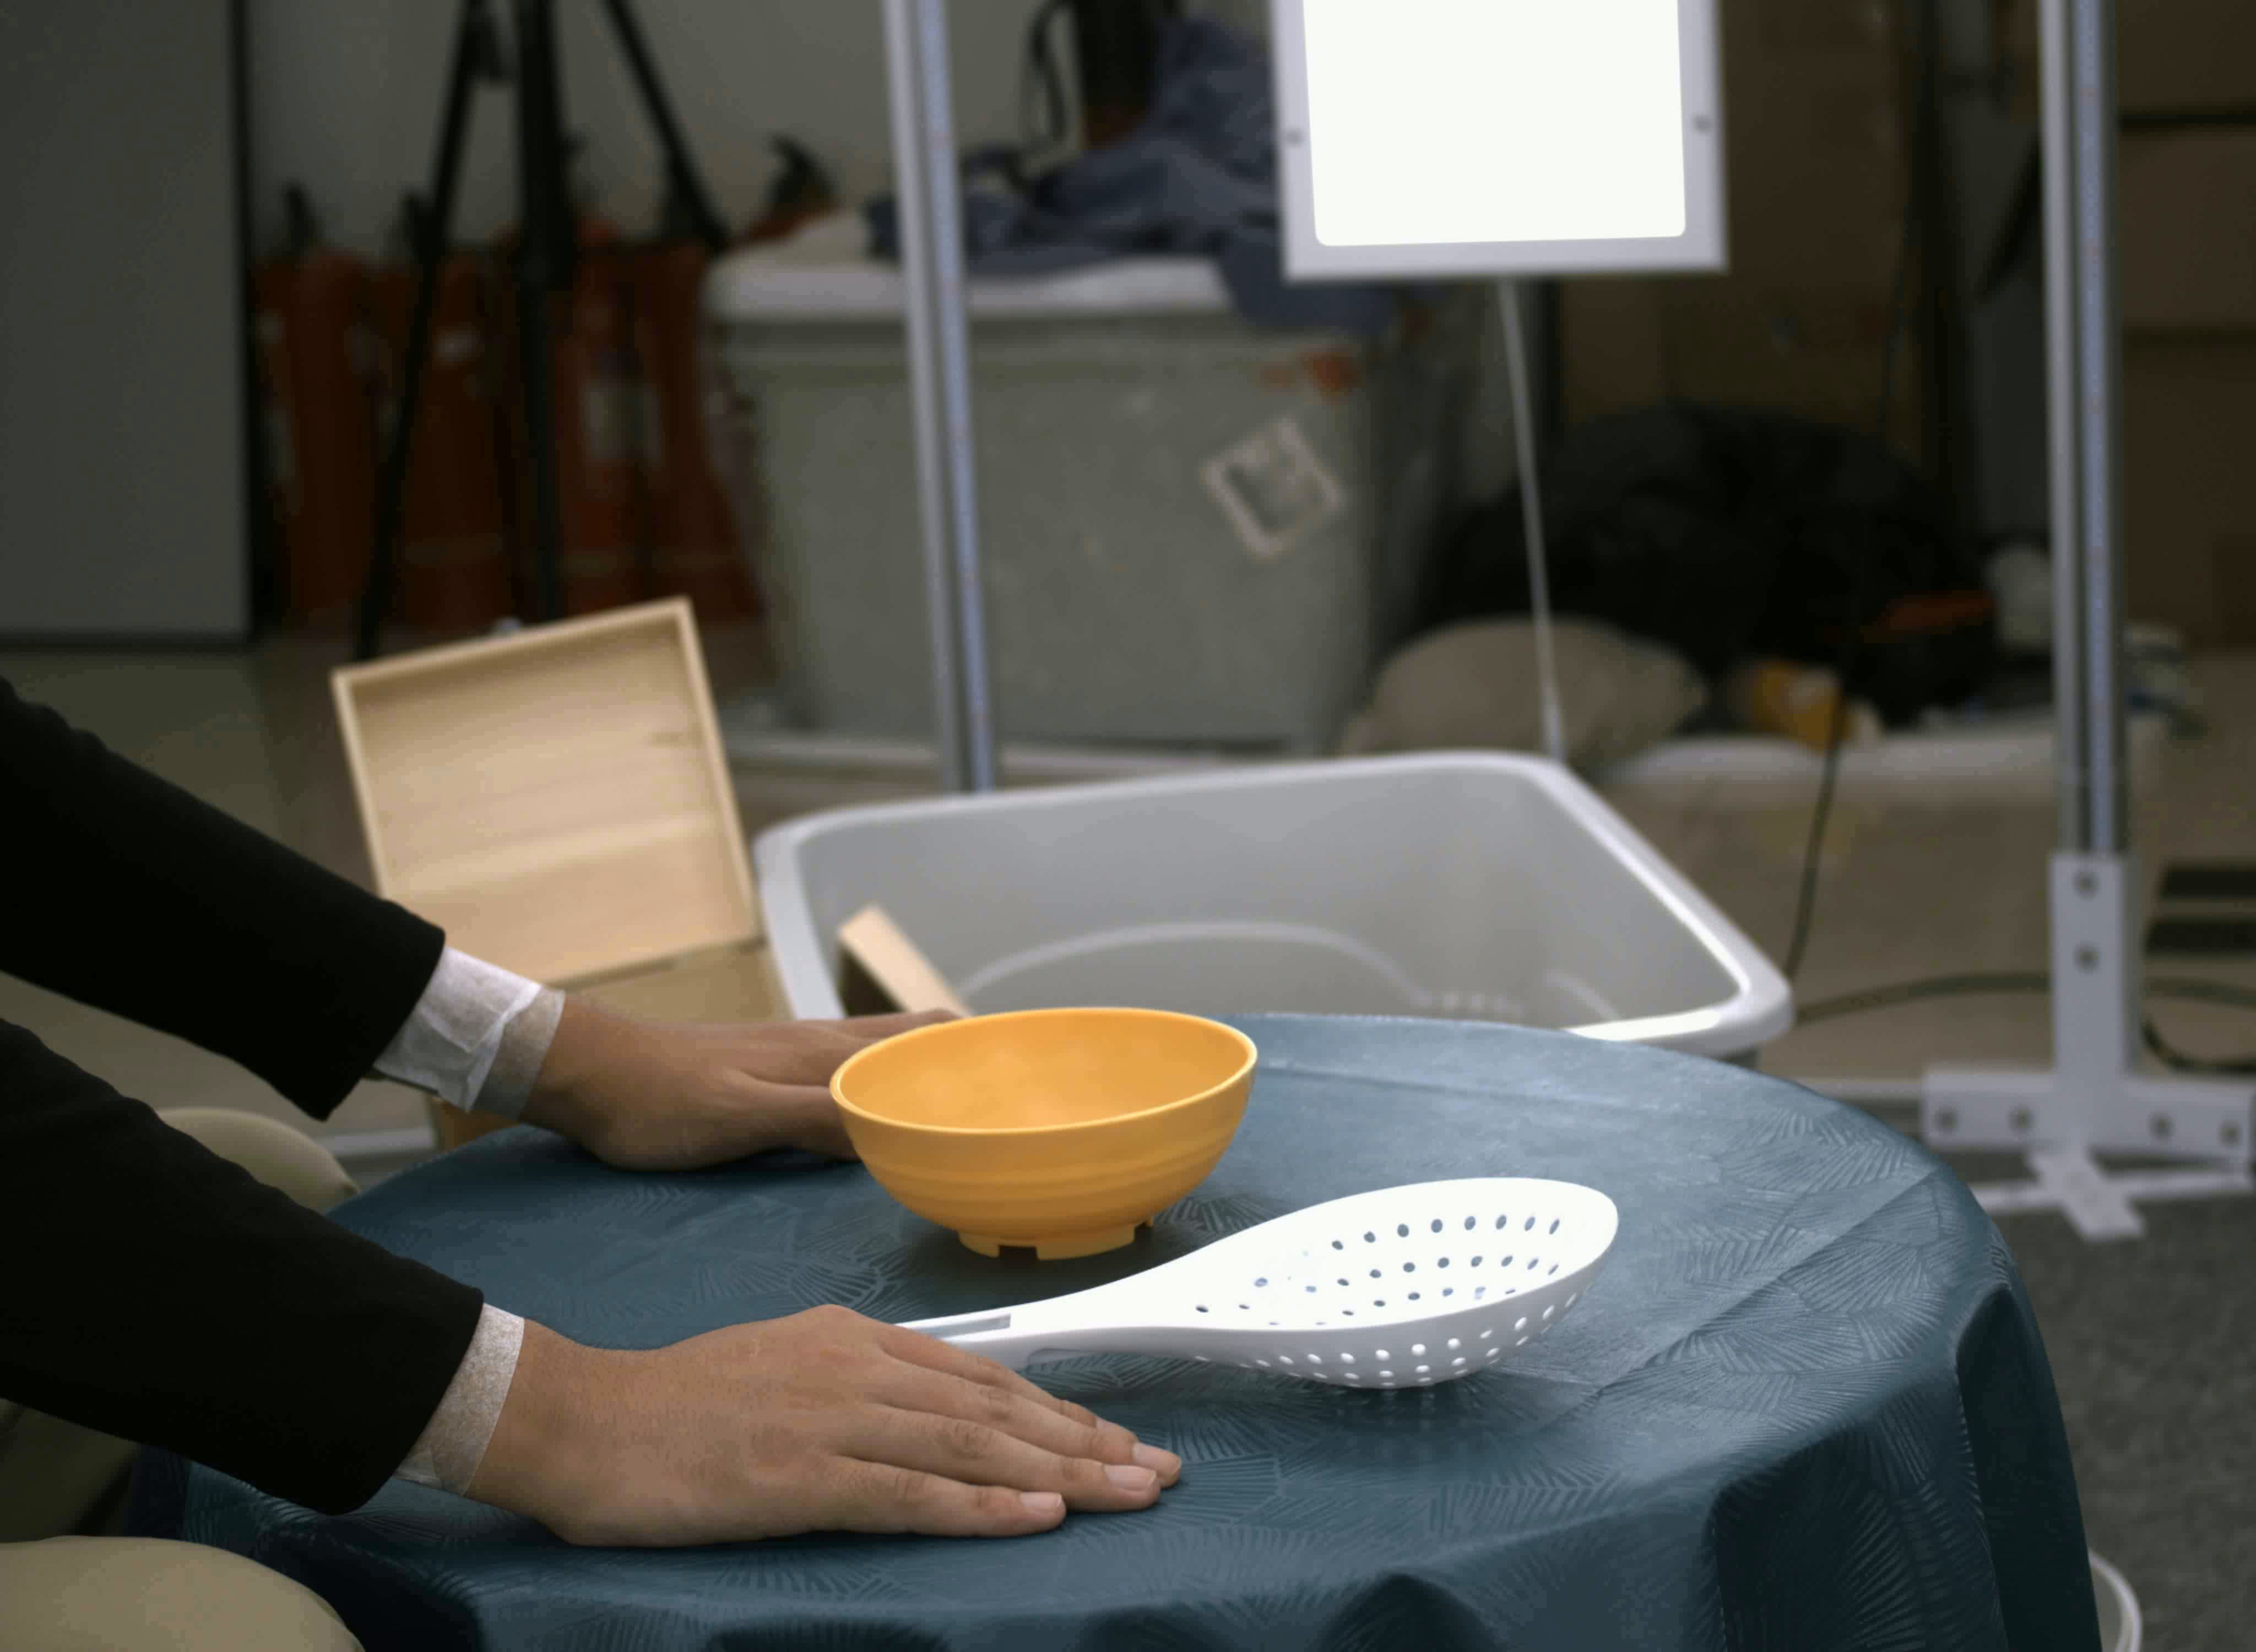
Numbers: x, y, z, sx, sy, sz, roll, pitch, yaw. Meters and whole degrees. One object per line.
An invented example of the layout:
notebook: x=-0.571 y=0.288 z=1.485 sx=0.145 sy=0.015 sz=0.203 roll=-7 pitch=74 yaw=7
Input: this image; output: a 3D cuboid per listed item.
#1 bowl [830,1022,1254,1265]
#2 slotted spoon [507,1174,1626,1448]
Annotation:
bowl: x=-0.027 y=0.110 z=1.856 sx=0.145 sy=0.060 sz=0.145 roll=-4 pitch=12 yaw=0
slotted spoon: x=-0.019 y=0.154 z=1.696 sx=0.350 sy=0.046 sz=0.135 roll=-5 pitch=13 yaw=4
